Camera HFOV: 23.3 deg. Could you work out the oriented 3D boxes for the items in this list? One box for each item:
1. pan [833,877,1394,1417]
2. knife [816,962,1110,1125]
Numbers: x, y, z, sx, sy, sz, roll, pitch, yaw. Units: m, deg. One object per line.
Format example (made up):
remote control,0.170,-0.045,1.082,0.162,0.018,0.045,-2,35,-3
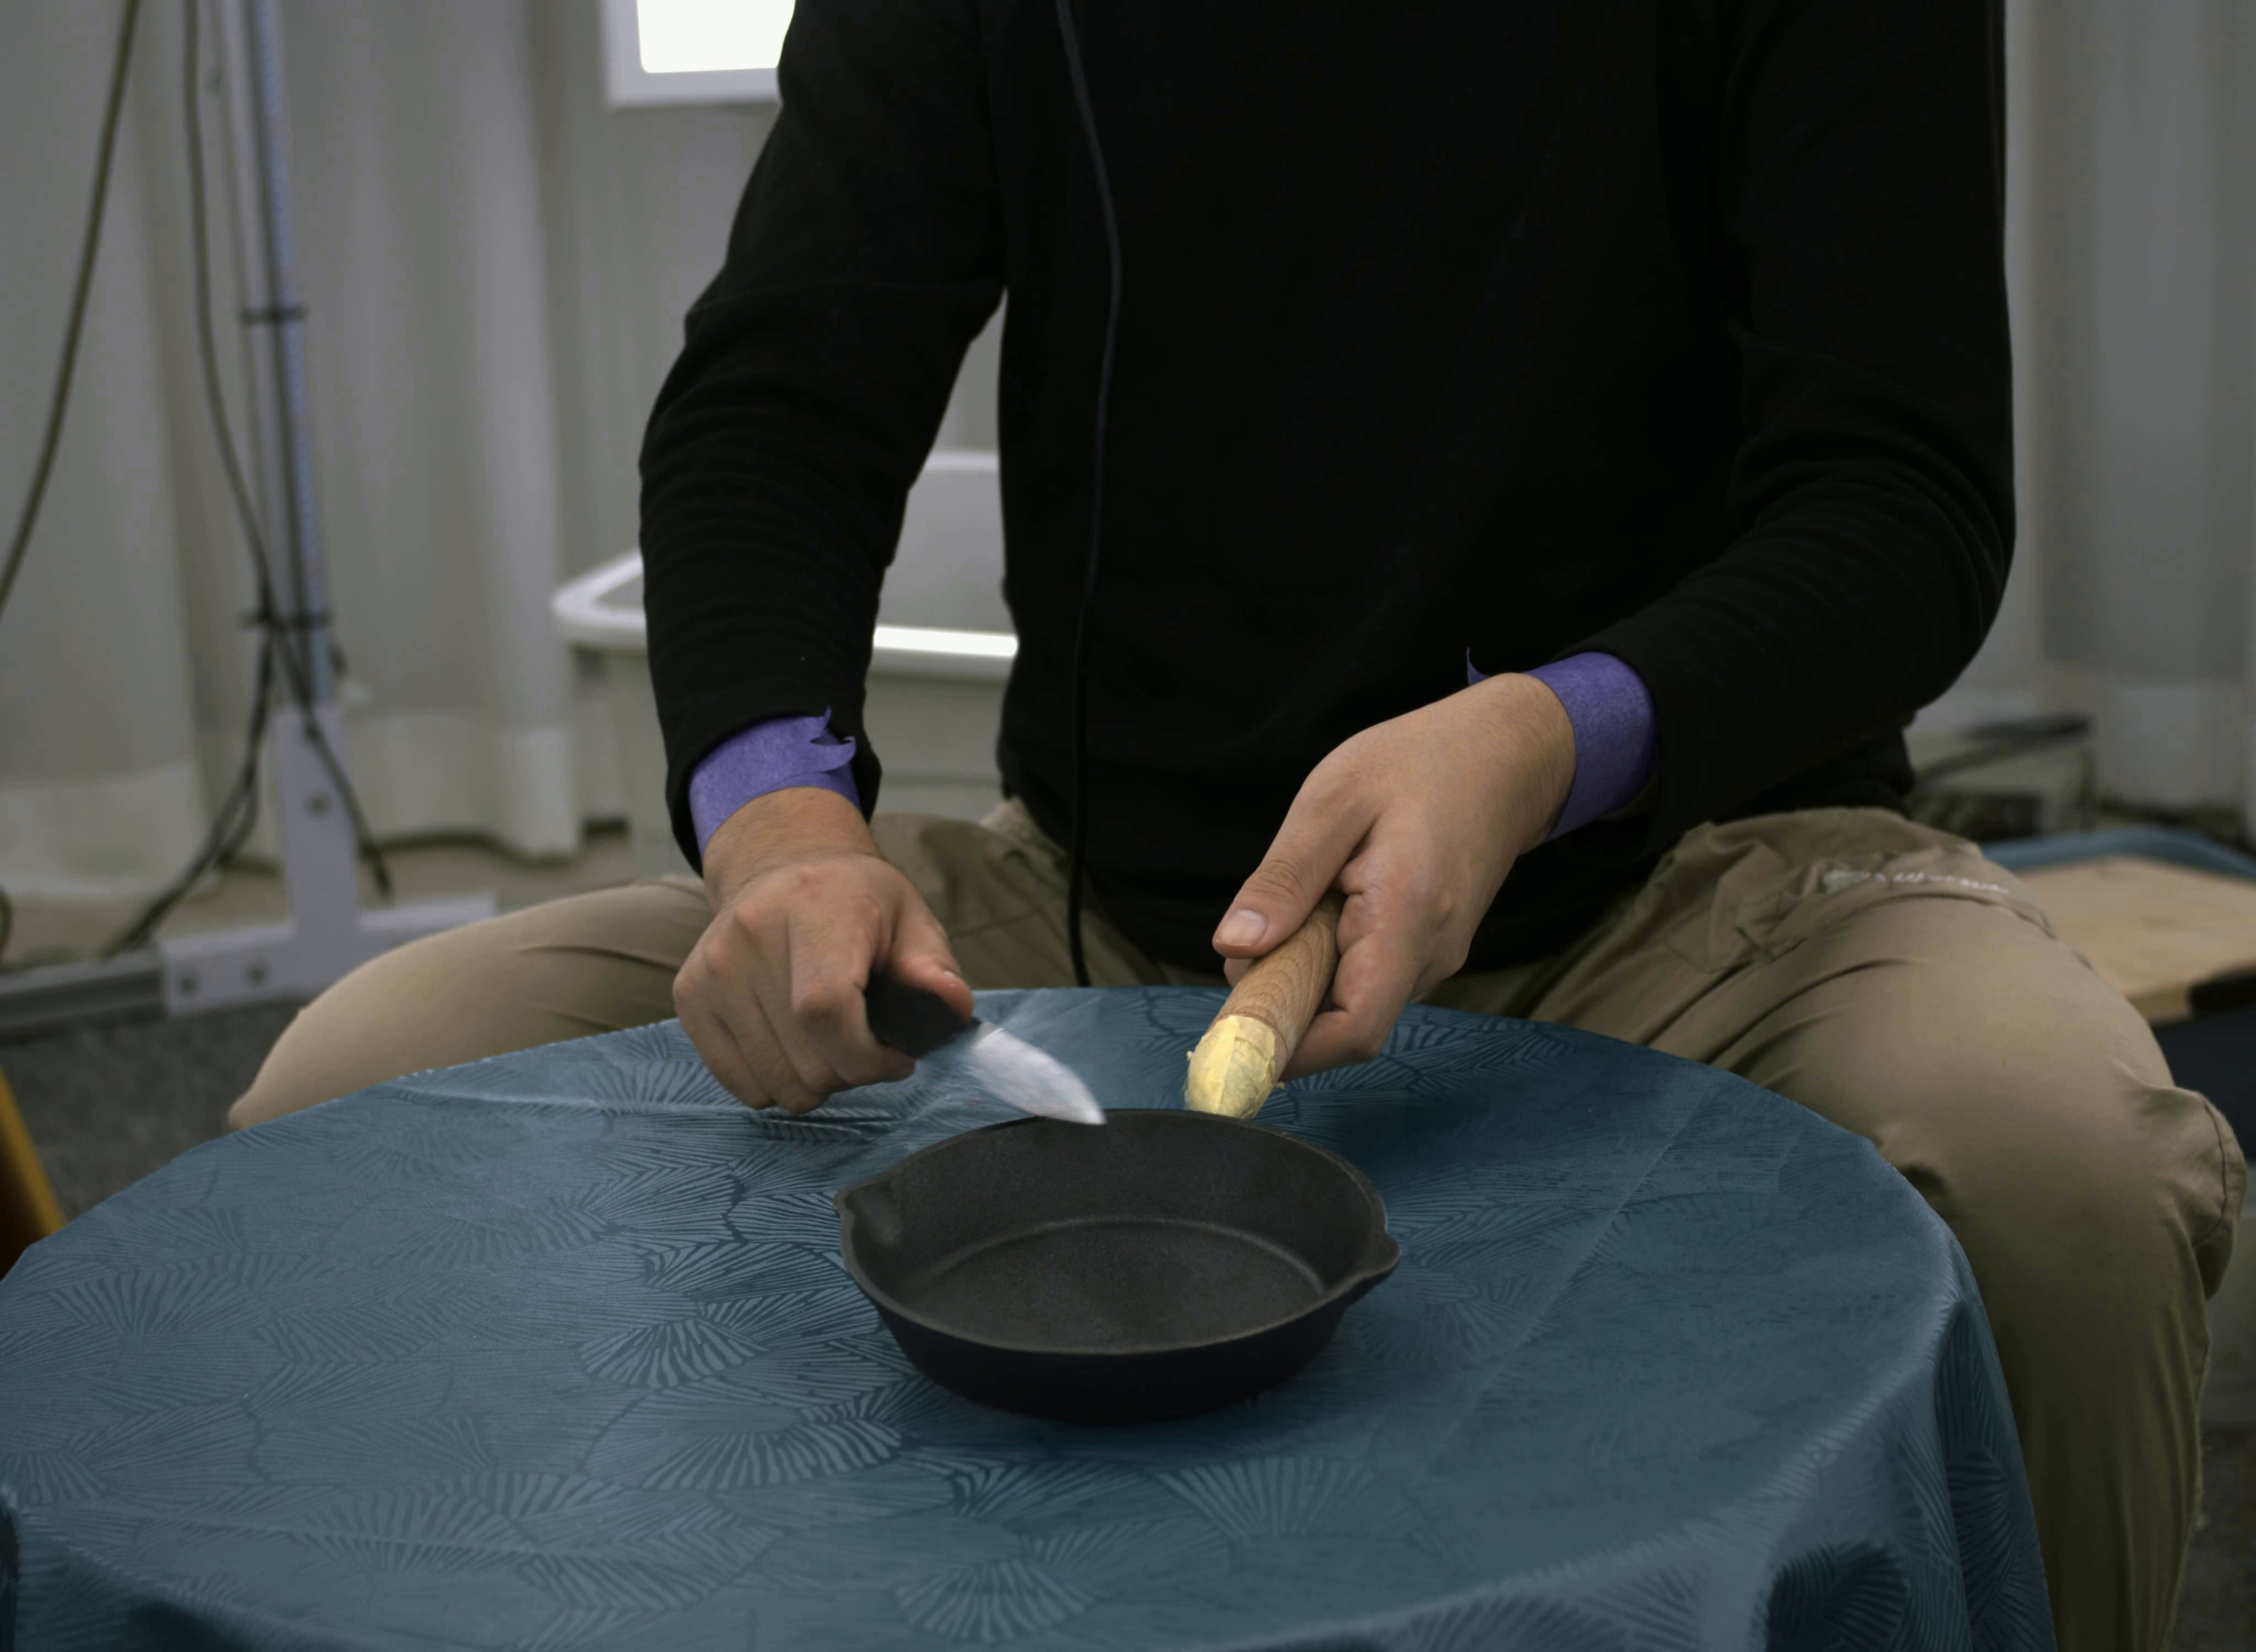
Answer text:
pan,0.024,0.092,1.642,0.169,0.049,0.326,6,23,19
knife,-0.052,0.069,1.674,0.024,0.016,0.239,-32,18,-15
